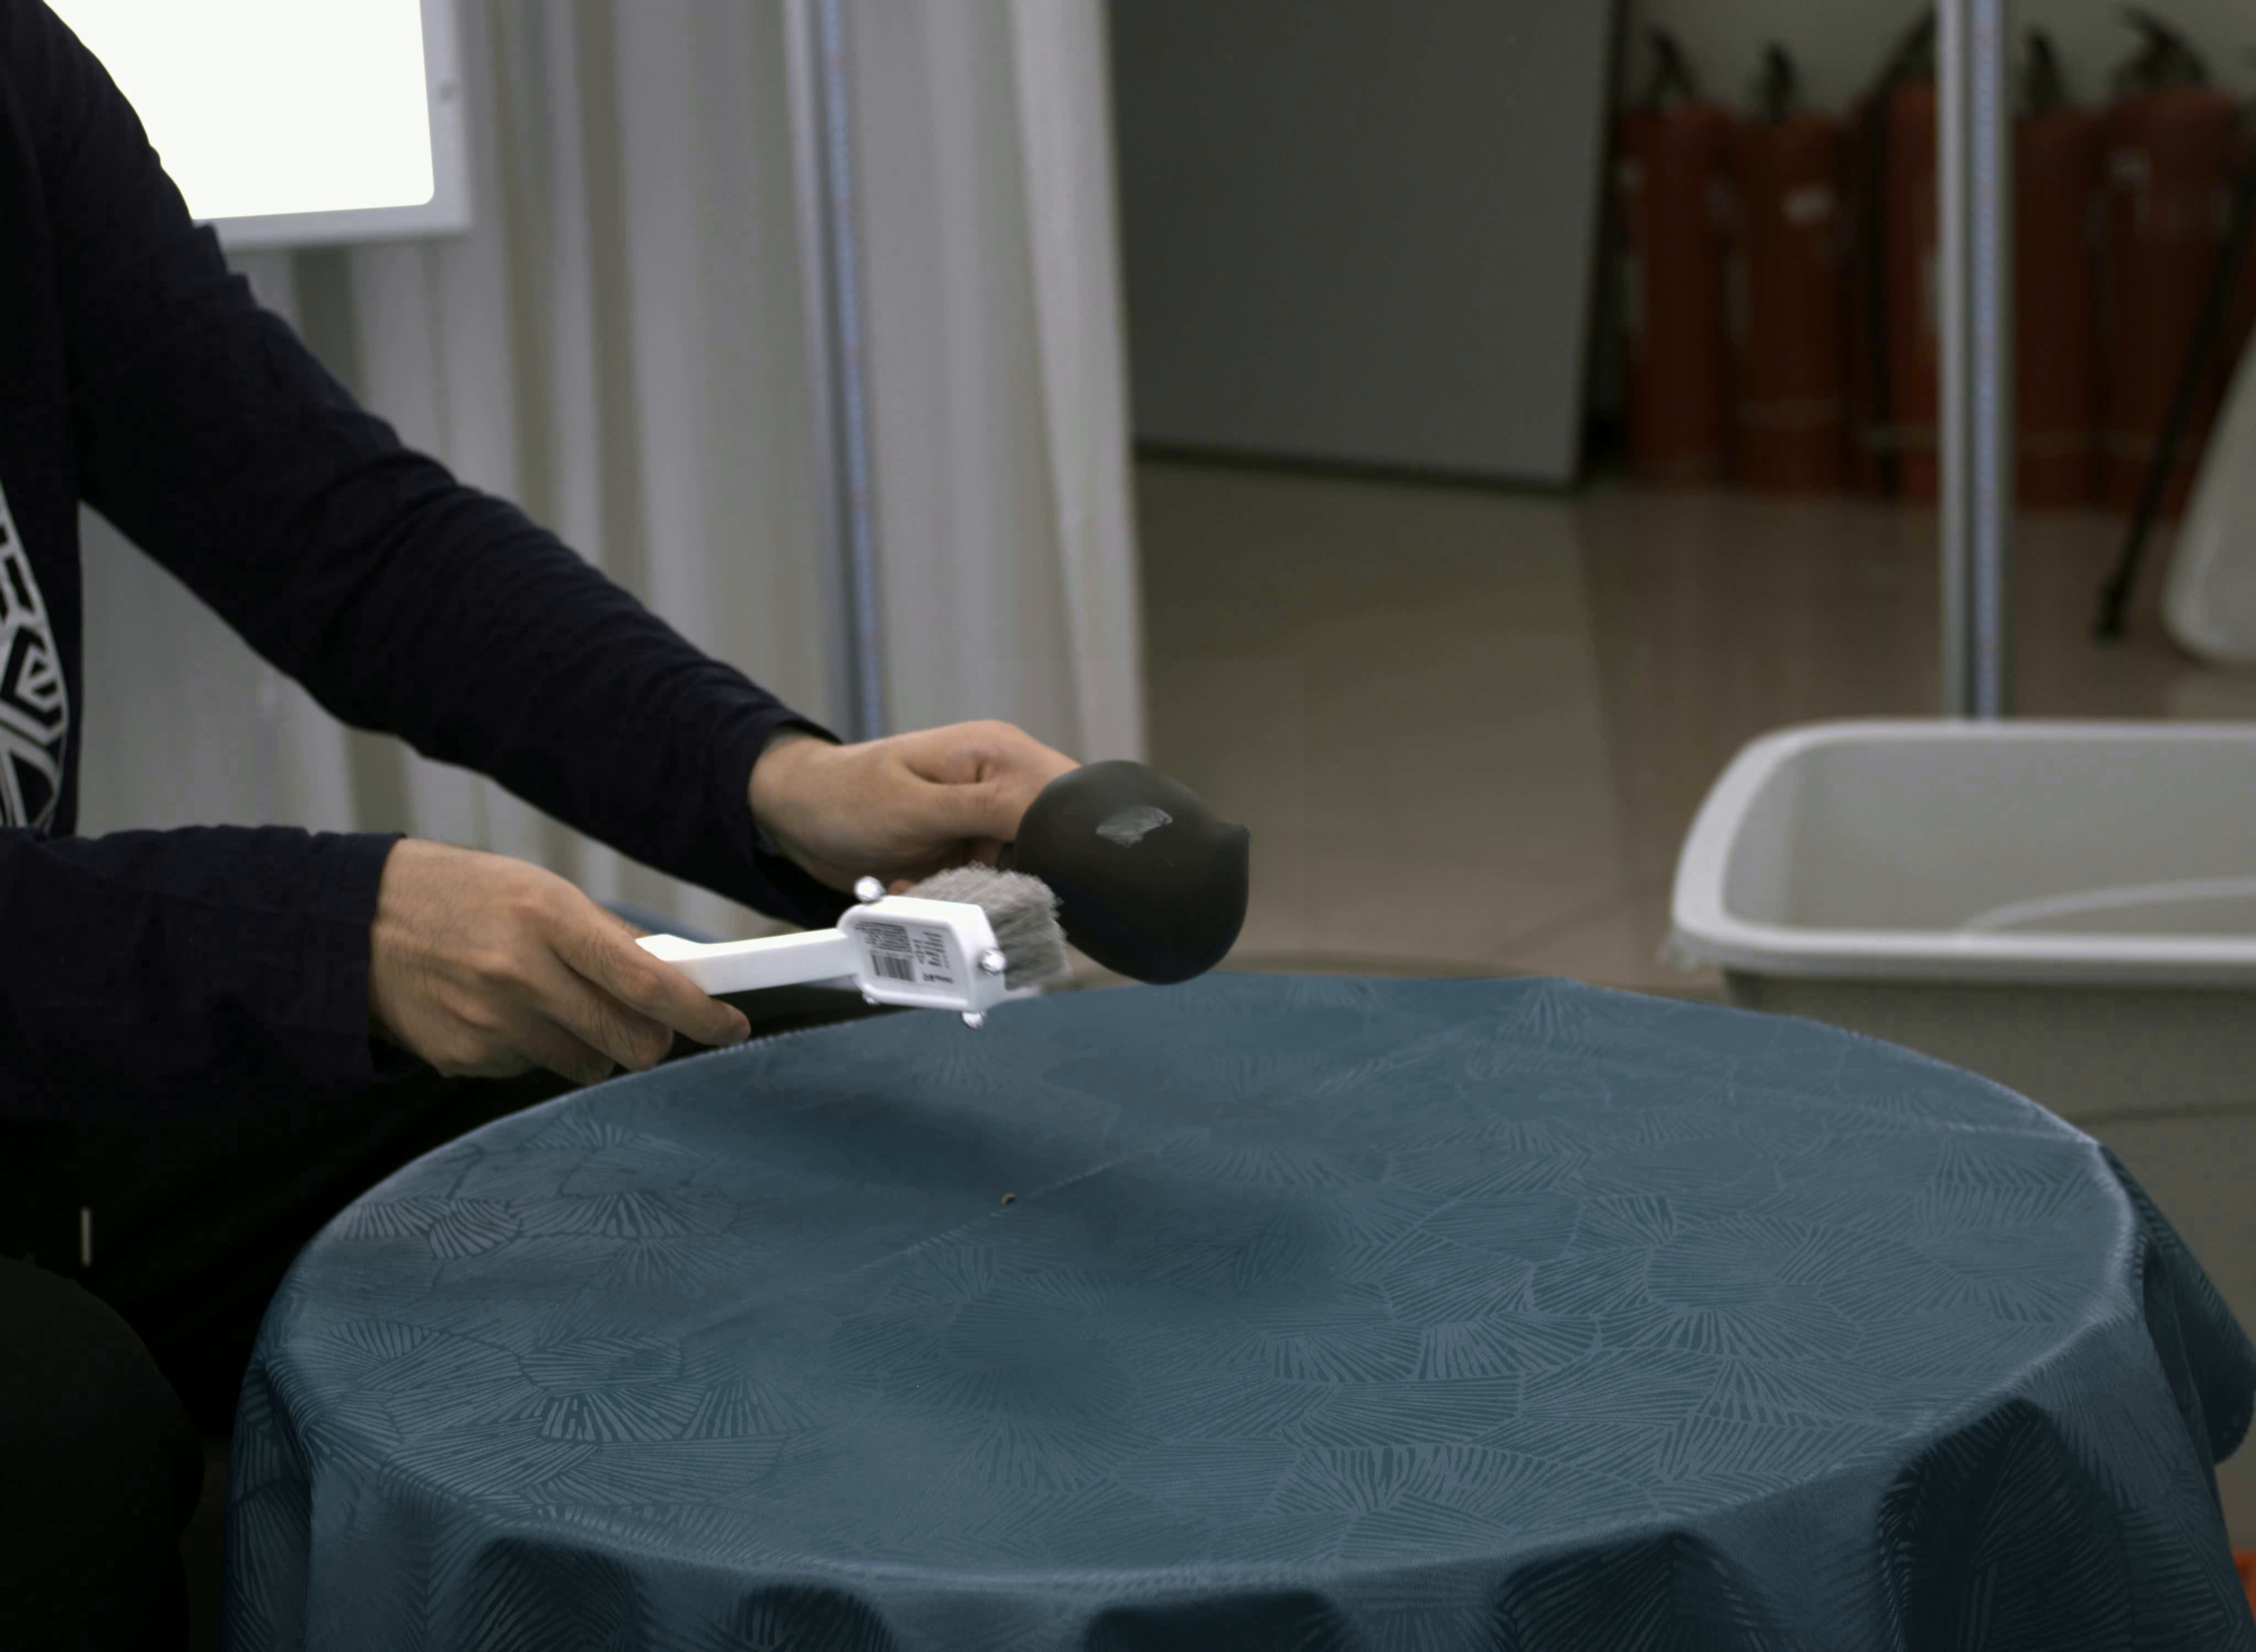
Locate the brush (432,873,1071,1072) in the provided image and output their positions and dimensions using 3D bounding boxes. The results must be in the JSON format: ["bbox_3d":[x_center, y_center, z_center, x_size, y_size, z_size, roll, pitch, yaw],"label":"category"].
[{"bbox_3d":[-0.120,0.048,1.719,0.245,0.035,0.049,-11,6,37],"label":"brush"}]

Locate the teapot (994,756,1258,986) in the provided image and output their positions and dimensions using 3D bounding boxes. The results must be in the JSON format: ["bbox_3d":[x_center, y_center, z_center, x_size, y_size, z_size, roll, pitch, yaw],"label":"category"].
[{"bbox_3d":[-0.005,0.013,1.785,0.115,0.082,0.053,7,56,54],"label":"teapot"}]
